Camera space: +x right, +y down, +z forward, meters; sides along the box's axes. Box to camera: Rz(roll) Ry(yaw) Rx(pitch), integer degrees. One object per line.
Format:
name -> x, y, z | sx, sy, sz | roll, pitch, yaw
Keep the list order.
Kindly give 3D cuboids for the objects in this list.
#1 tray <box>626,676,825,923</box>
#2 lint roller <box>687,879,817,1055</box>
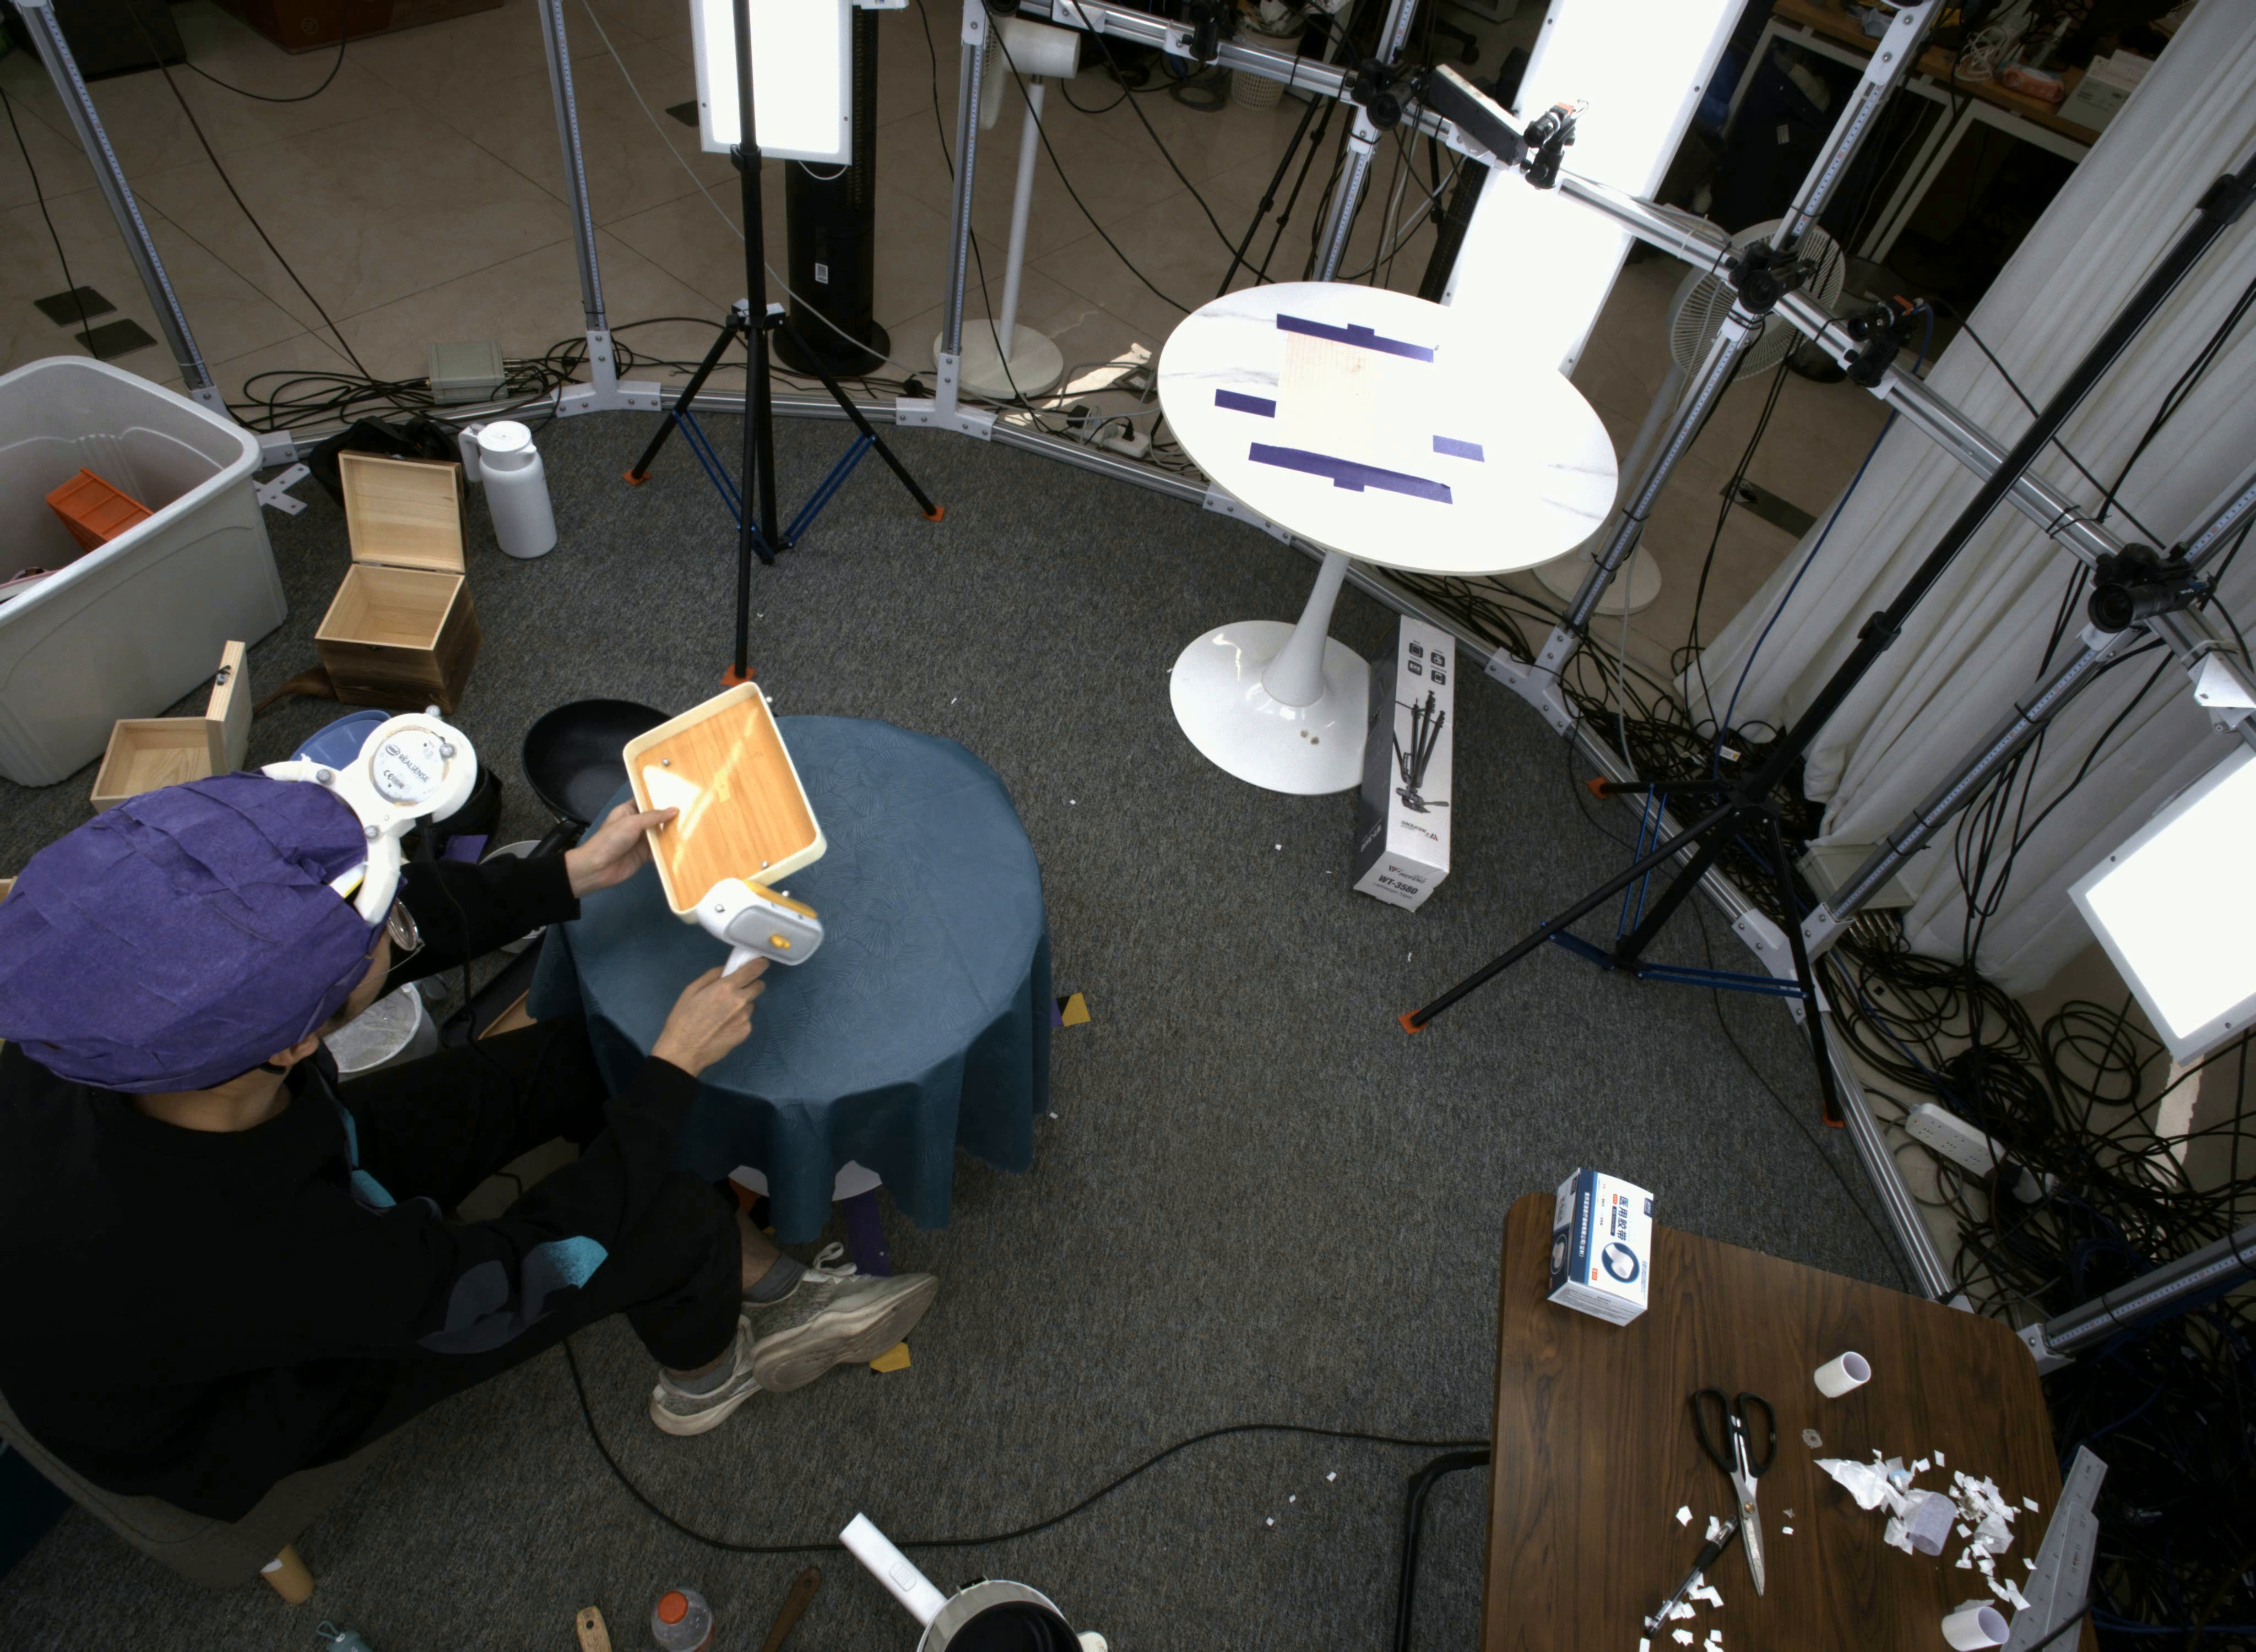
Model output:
tray -> -0.490, -0.040, 1.548 | 0.191, 0.028, 0.291 | -28, 56, -6
lint roller -> -0.449, 0.162, 1.472 | 0.072, 0.197, 0.193 | 31, 89, 18
